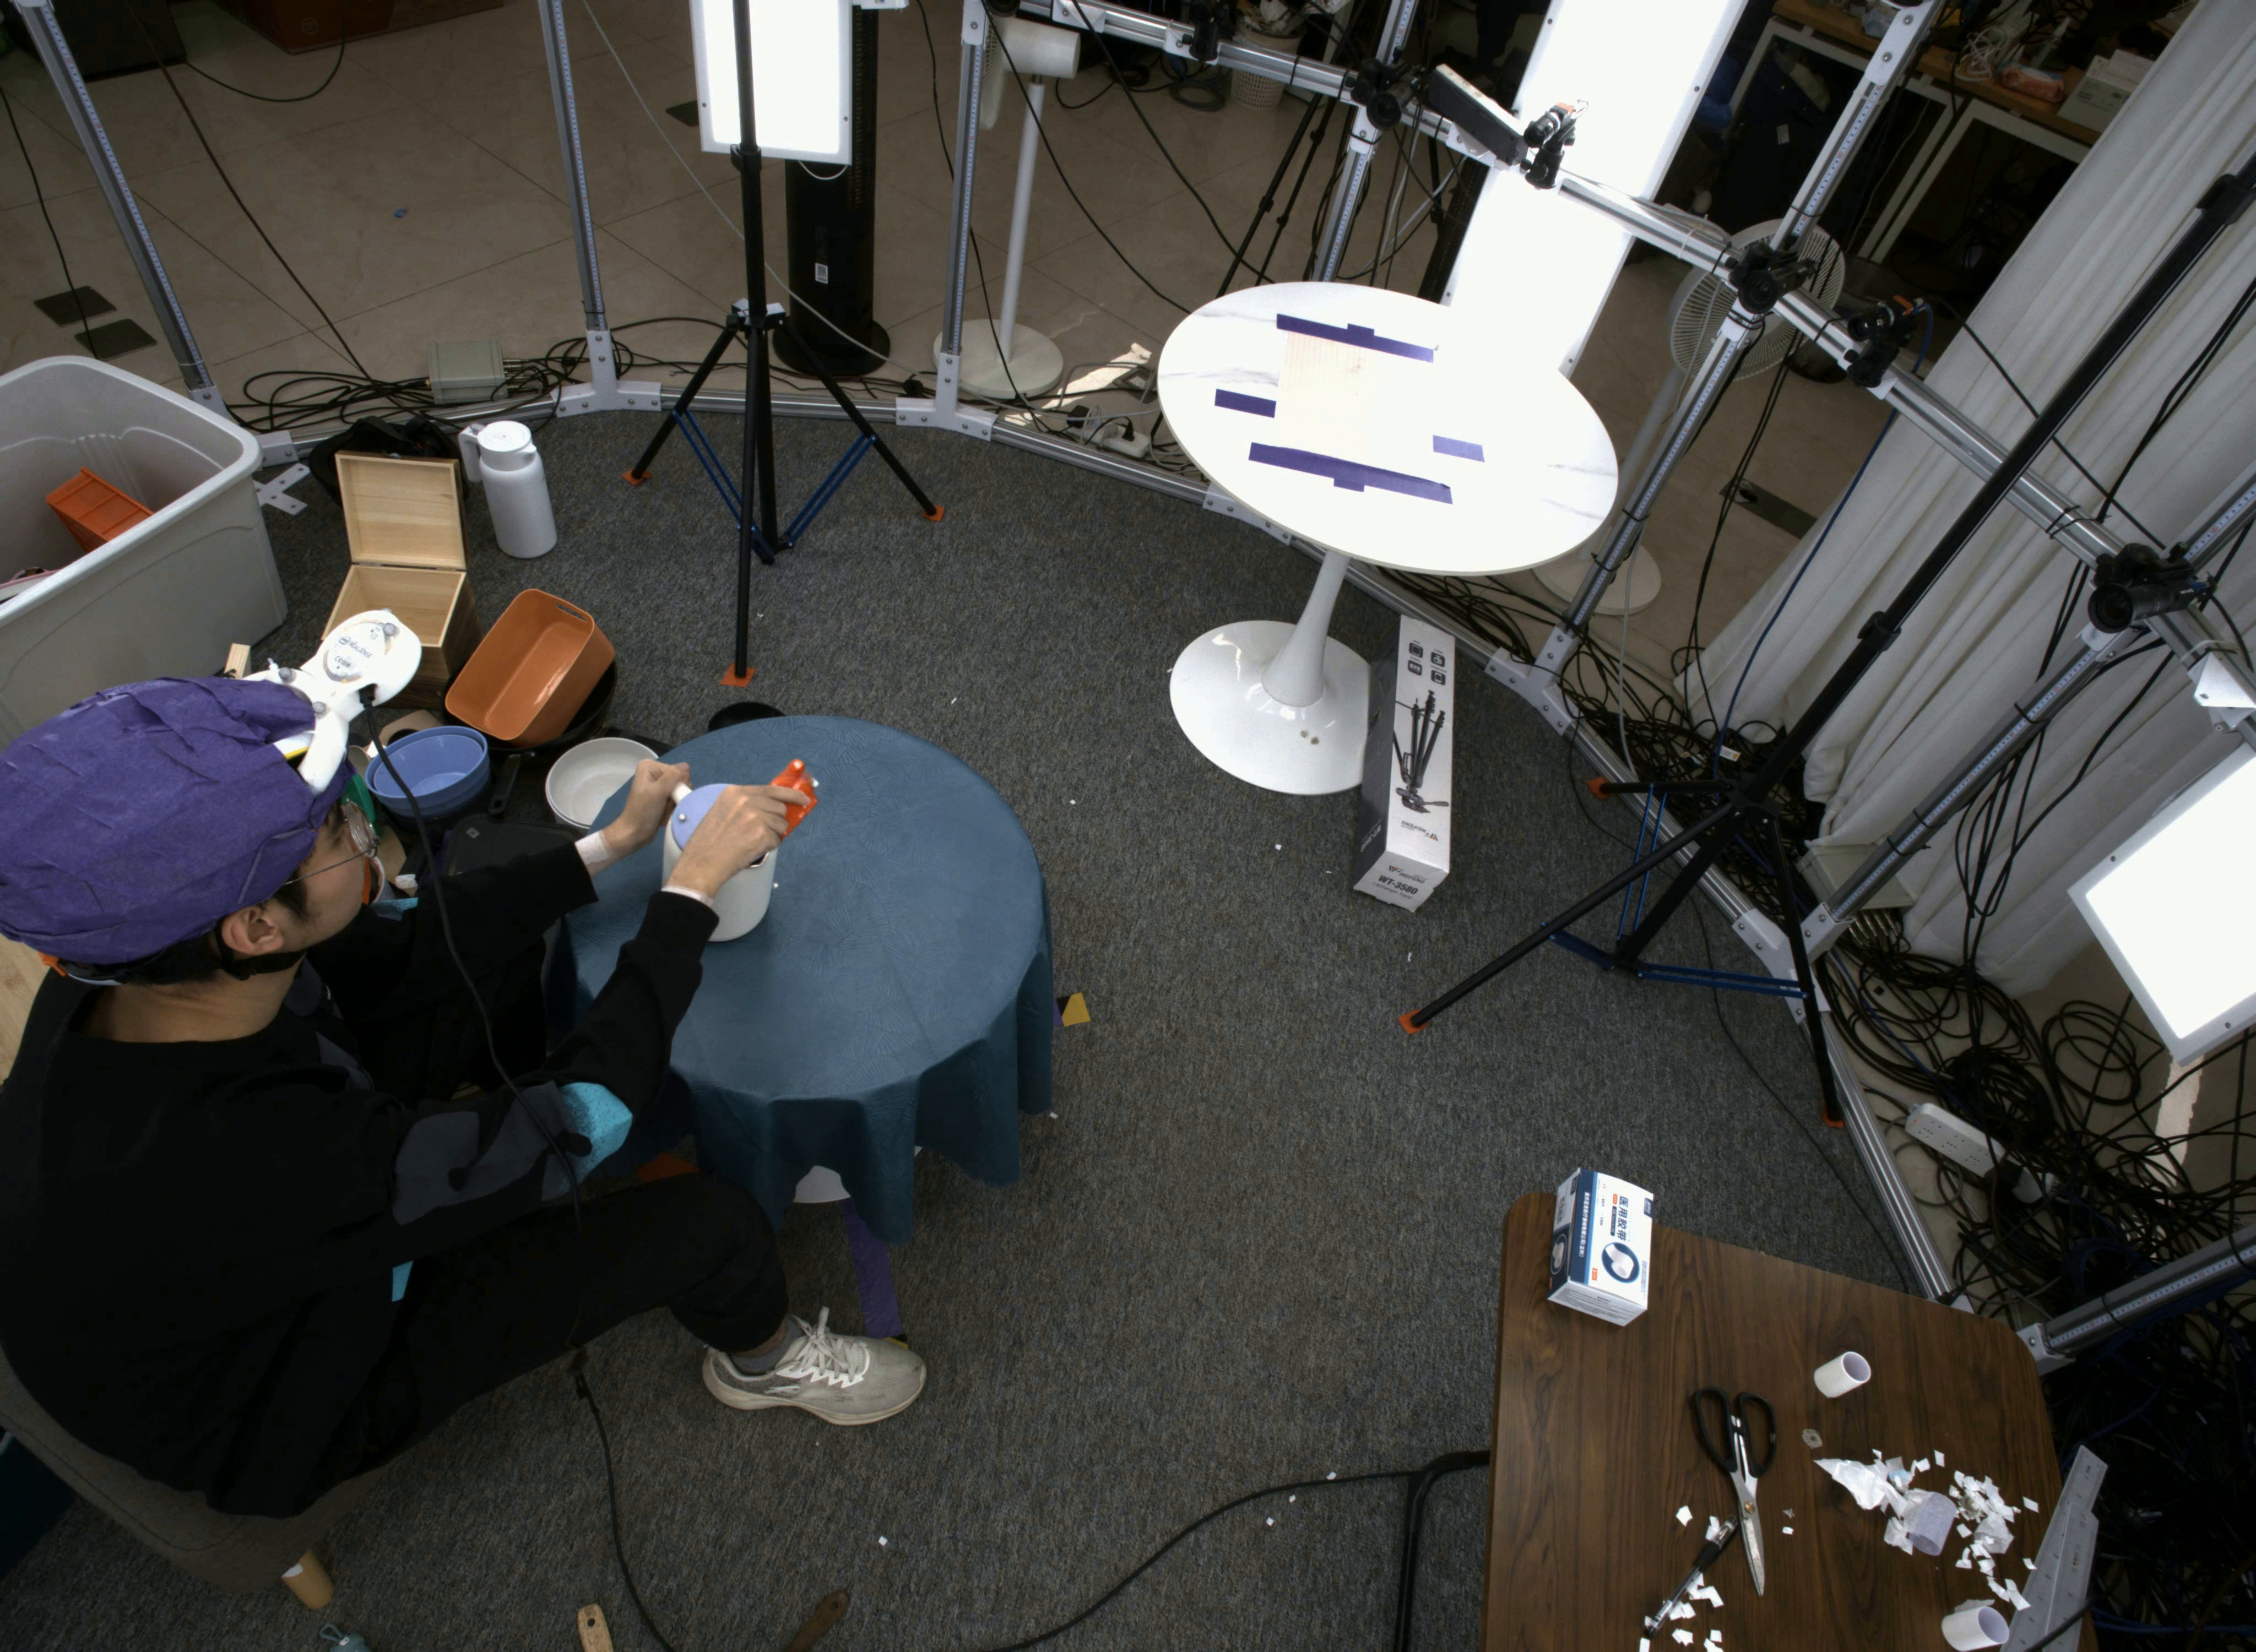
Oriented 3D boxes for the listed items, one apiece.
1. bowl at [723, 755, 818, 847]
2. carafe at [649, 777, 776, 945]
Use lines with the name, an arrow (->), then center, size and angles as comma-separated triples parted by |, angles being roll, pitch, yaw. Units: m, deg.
bowl -> -0.384, -0.020, 1.415 | 0.052, 0.117, 0.118 | 49, 52, -12
carafe -> -0.513, 0.028, 1.562 | 0.188, 0.185, 0.132 | 39, 50, 11
